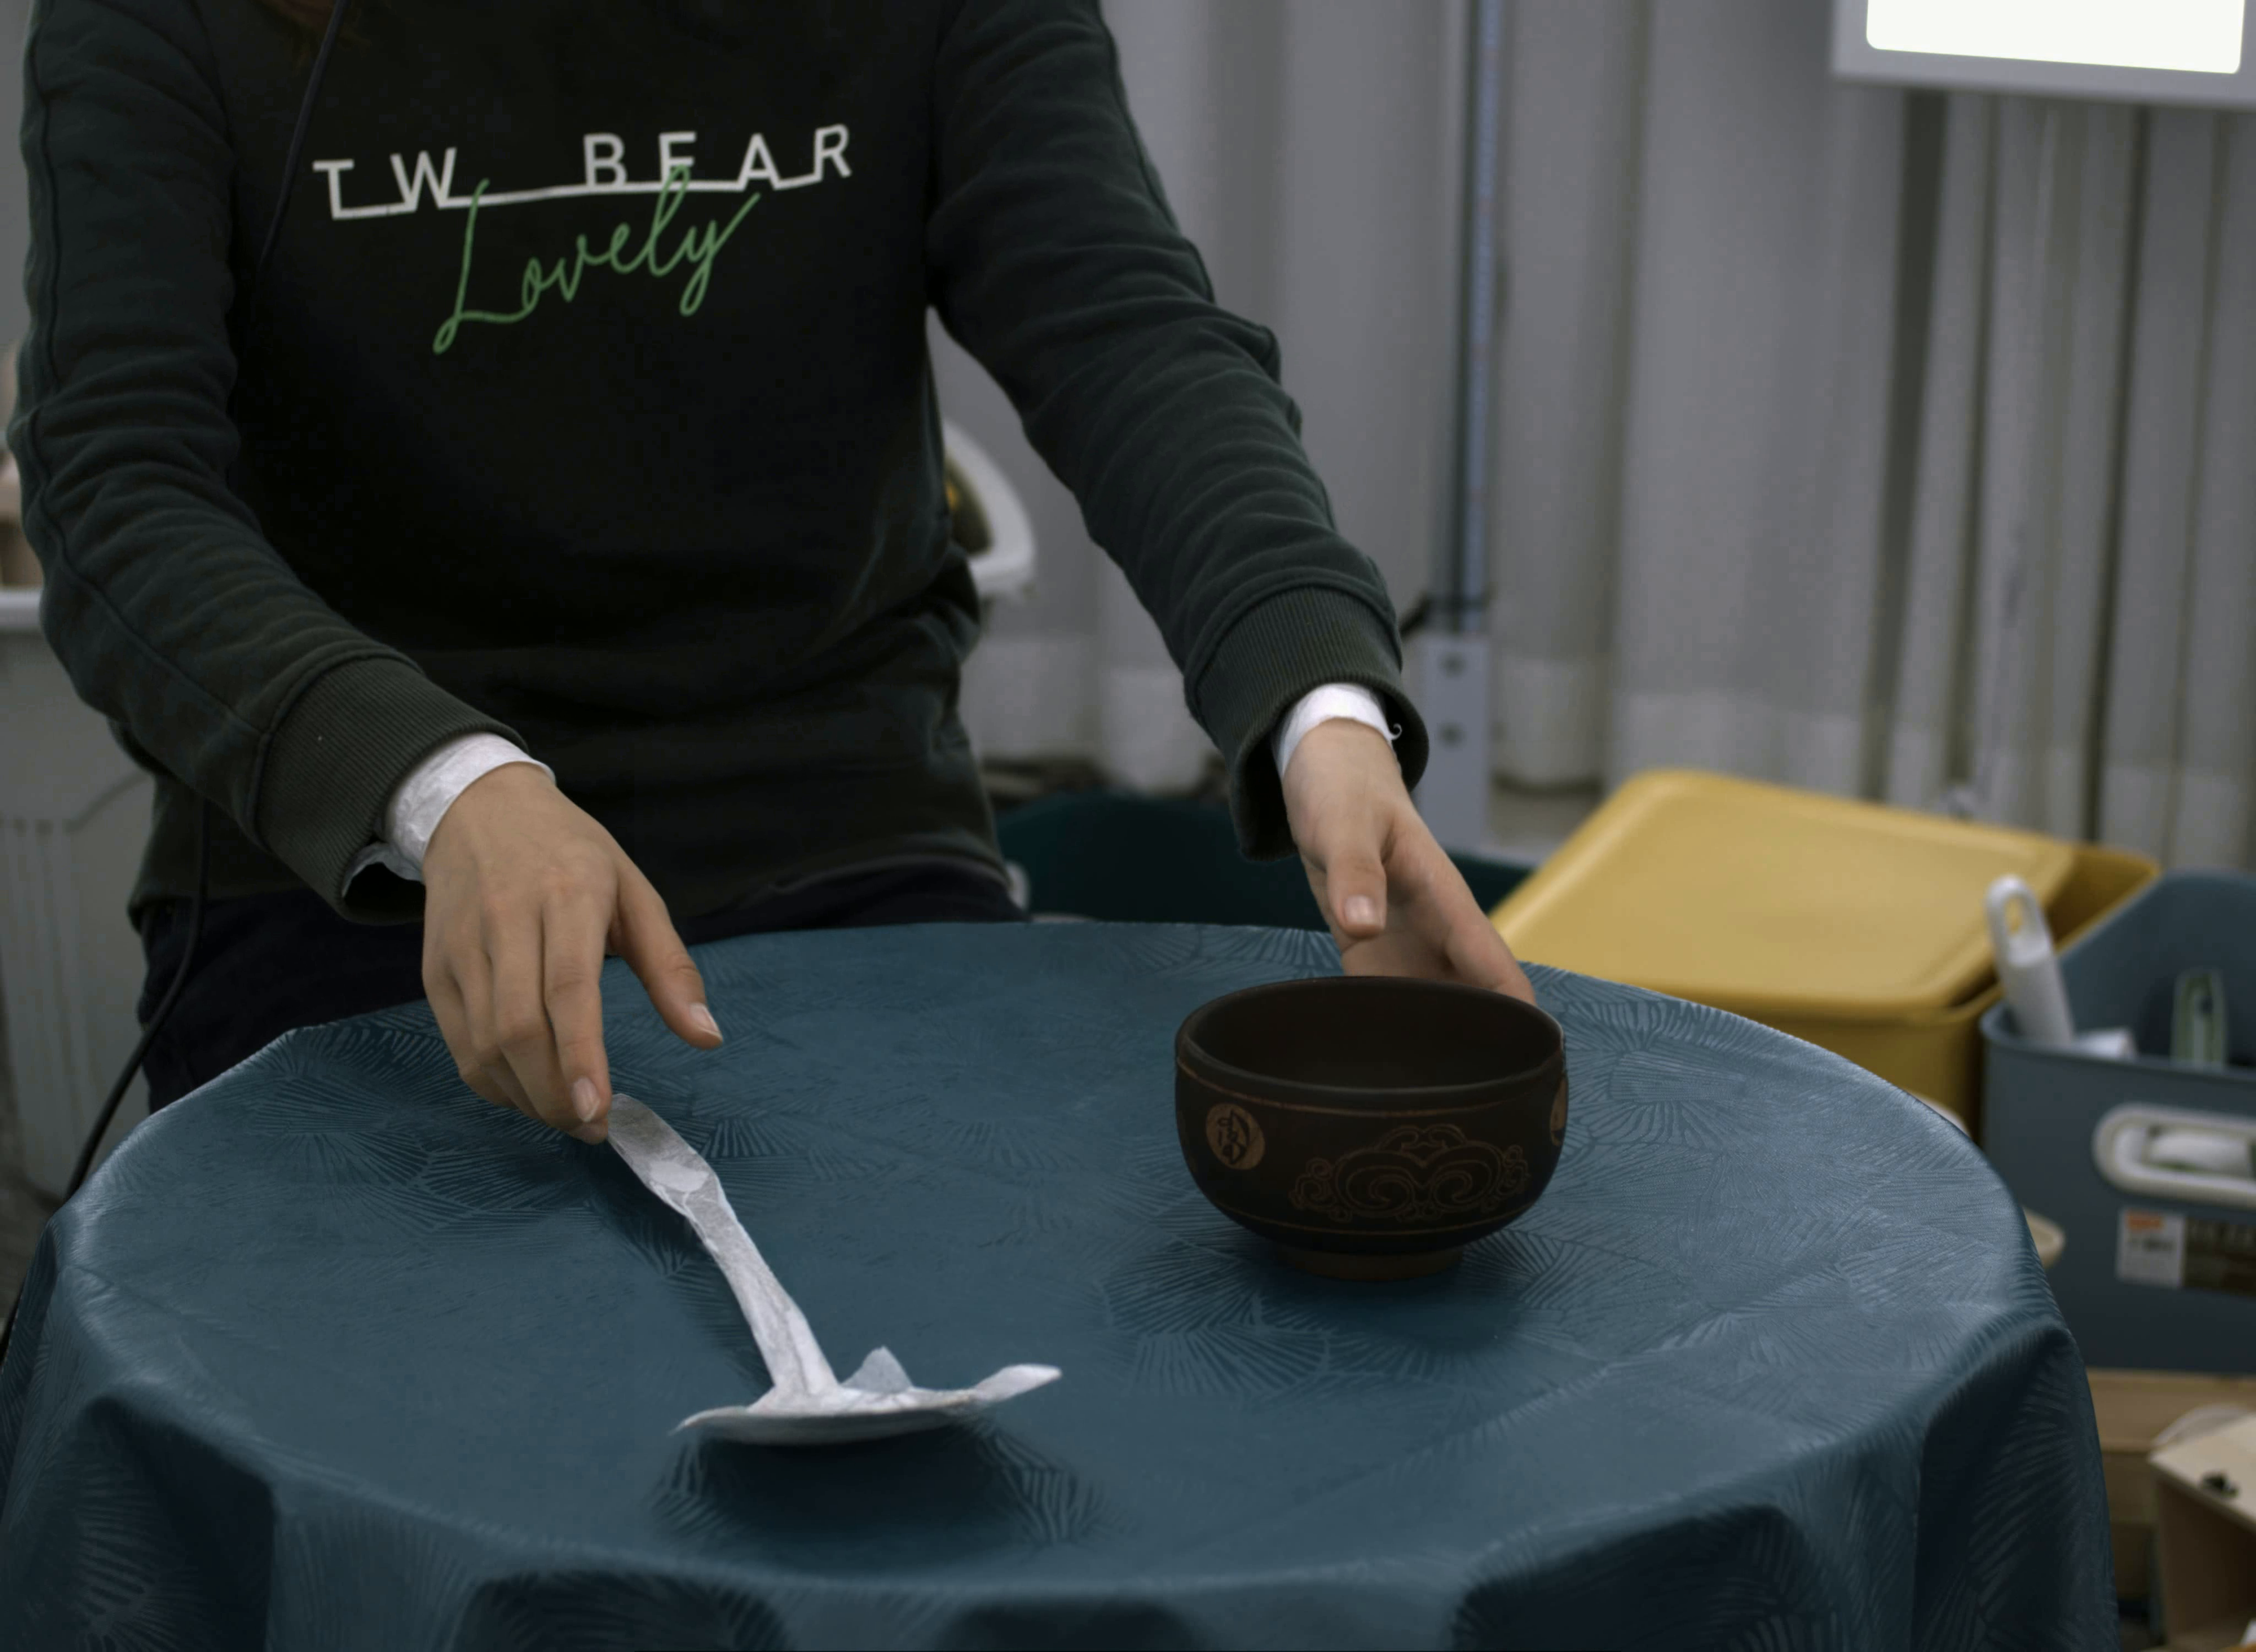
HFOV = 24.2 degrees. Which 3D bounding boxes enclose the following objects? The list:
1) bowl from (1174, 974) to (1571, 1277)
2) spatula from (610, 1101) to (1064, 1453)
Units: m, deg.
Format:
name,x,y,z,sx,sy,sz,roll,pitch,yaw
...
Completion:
name,x,y,z,sx,sy,sz,roll,pitch,yaw
bowl,0.072,0.093,1.568,0.117,0.070,0.117,2,15,0
spatula,-0.109,0.121,1.522,0.099,0.045,0.361,-6,17,-16
